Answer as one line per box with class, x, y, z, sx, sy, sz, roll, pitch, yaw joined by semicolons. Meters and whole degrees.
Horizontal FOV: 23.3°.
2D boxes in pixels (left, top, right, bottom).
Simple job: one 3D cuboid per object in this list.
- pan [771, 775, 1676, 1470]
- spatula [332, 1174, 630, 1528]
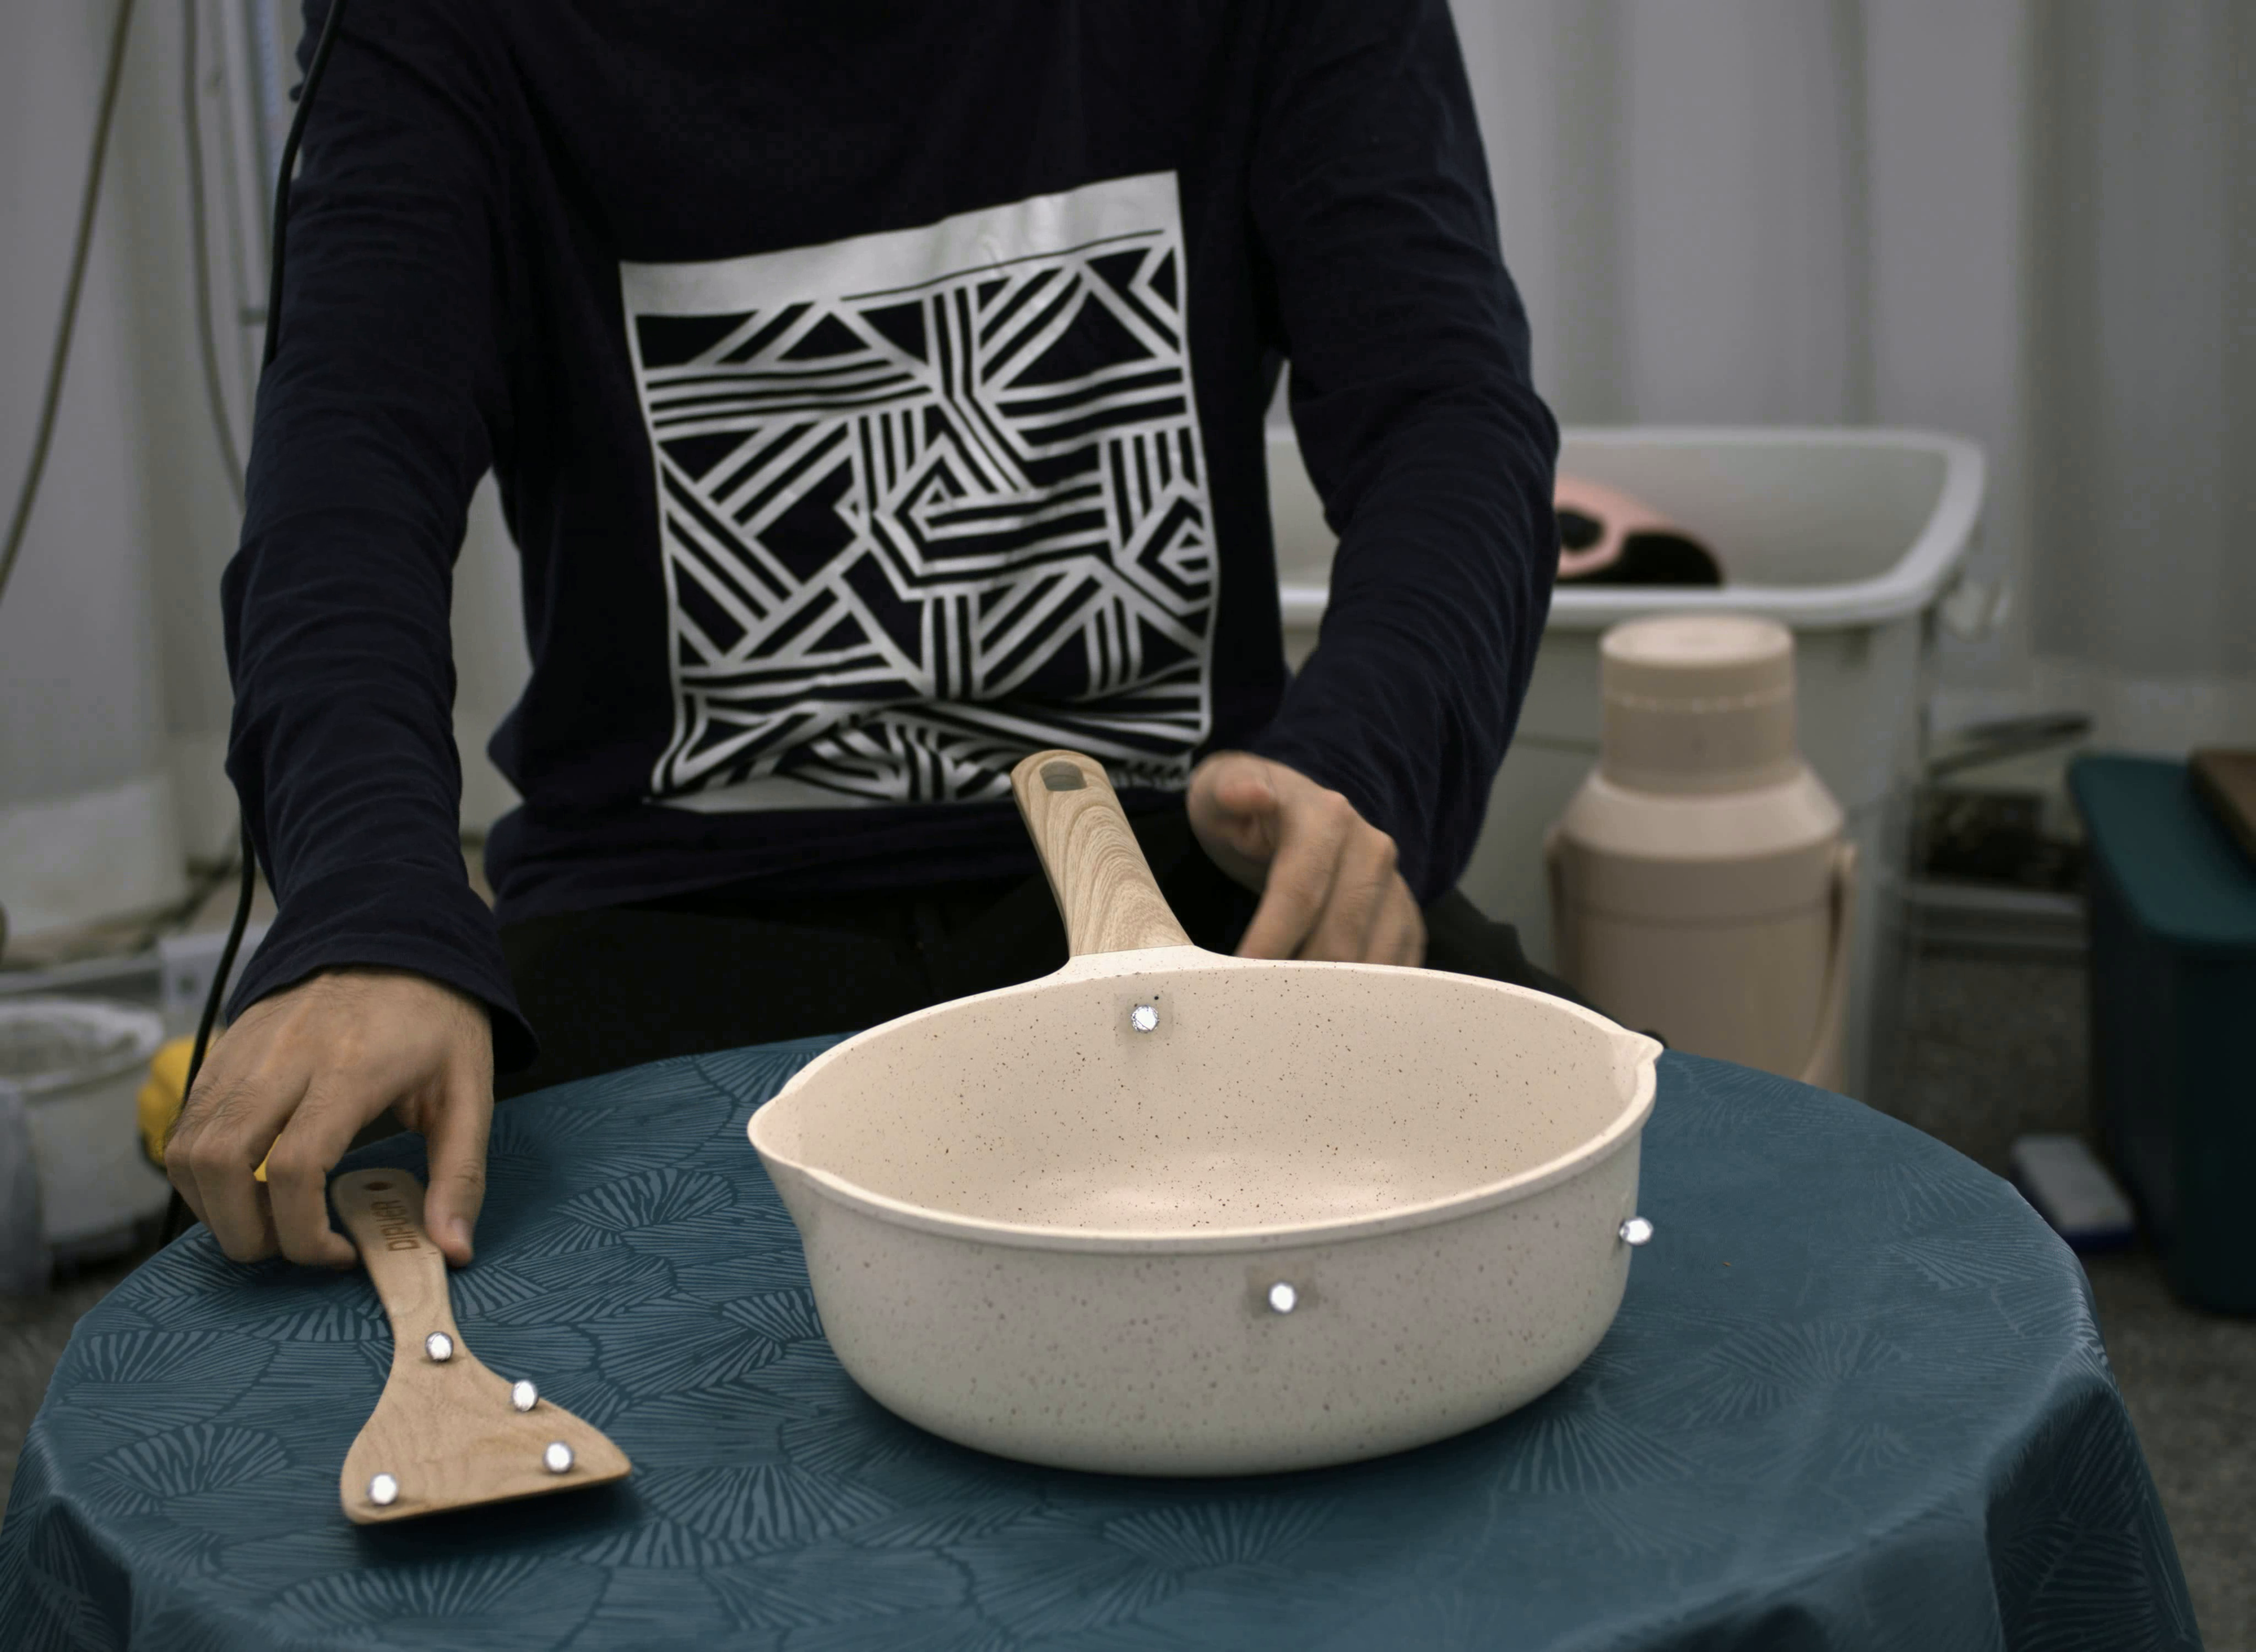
pan;0.015;0.083;1.647;0.262;0.101;0.438;-6;15;-8
spatula;-0.203;0.149;1.604;0.079;0.016;0.330;-6;15;-11
